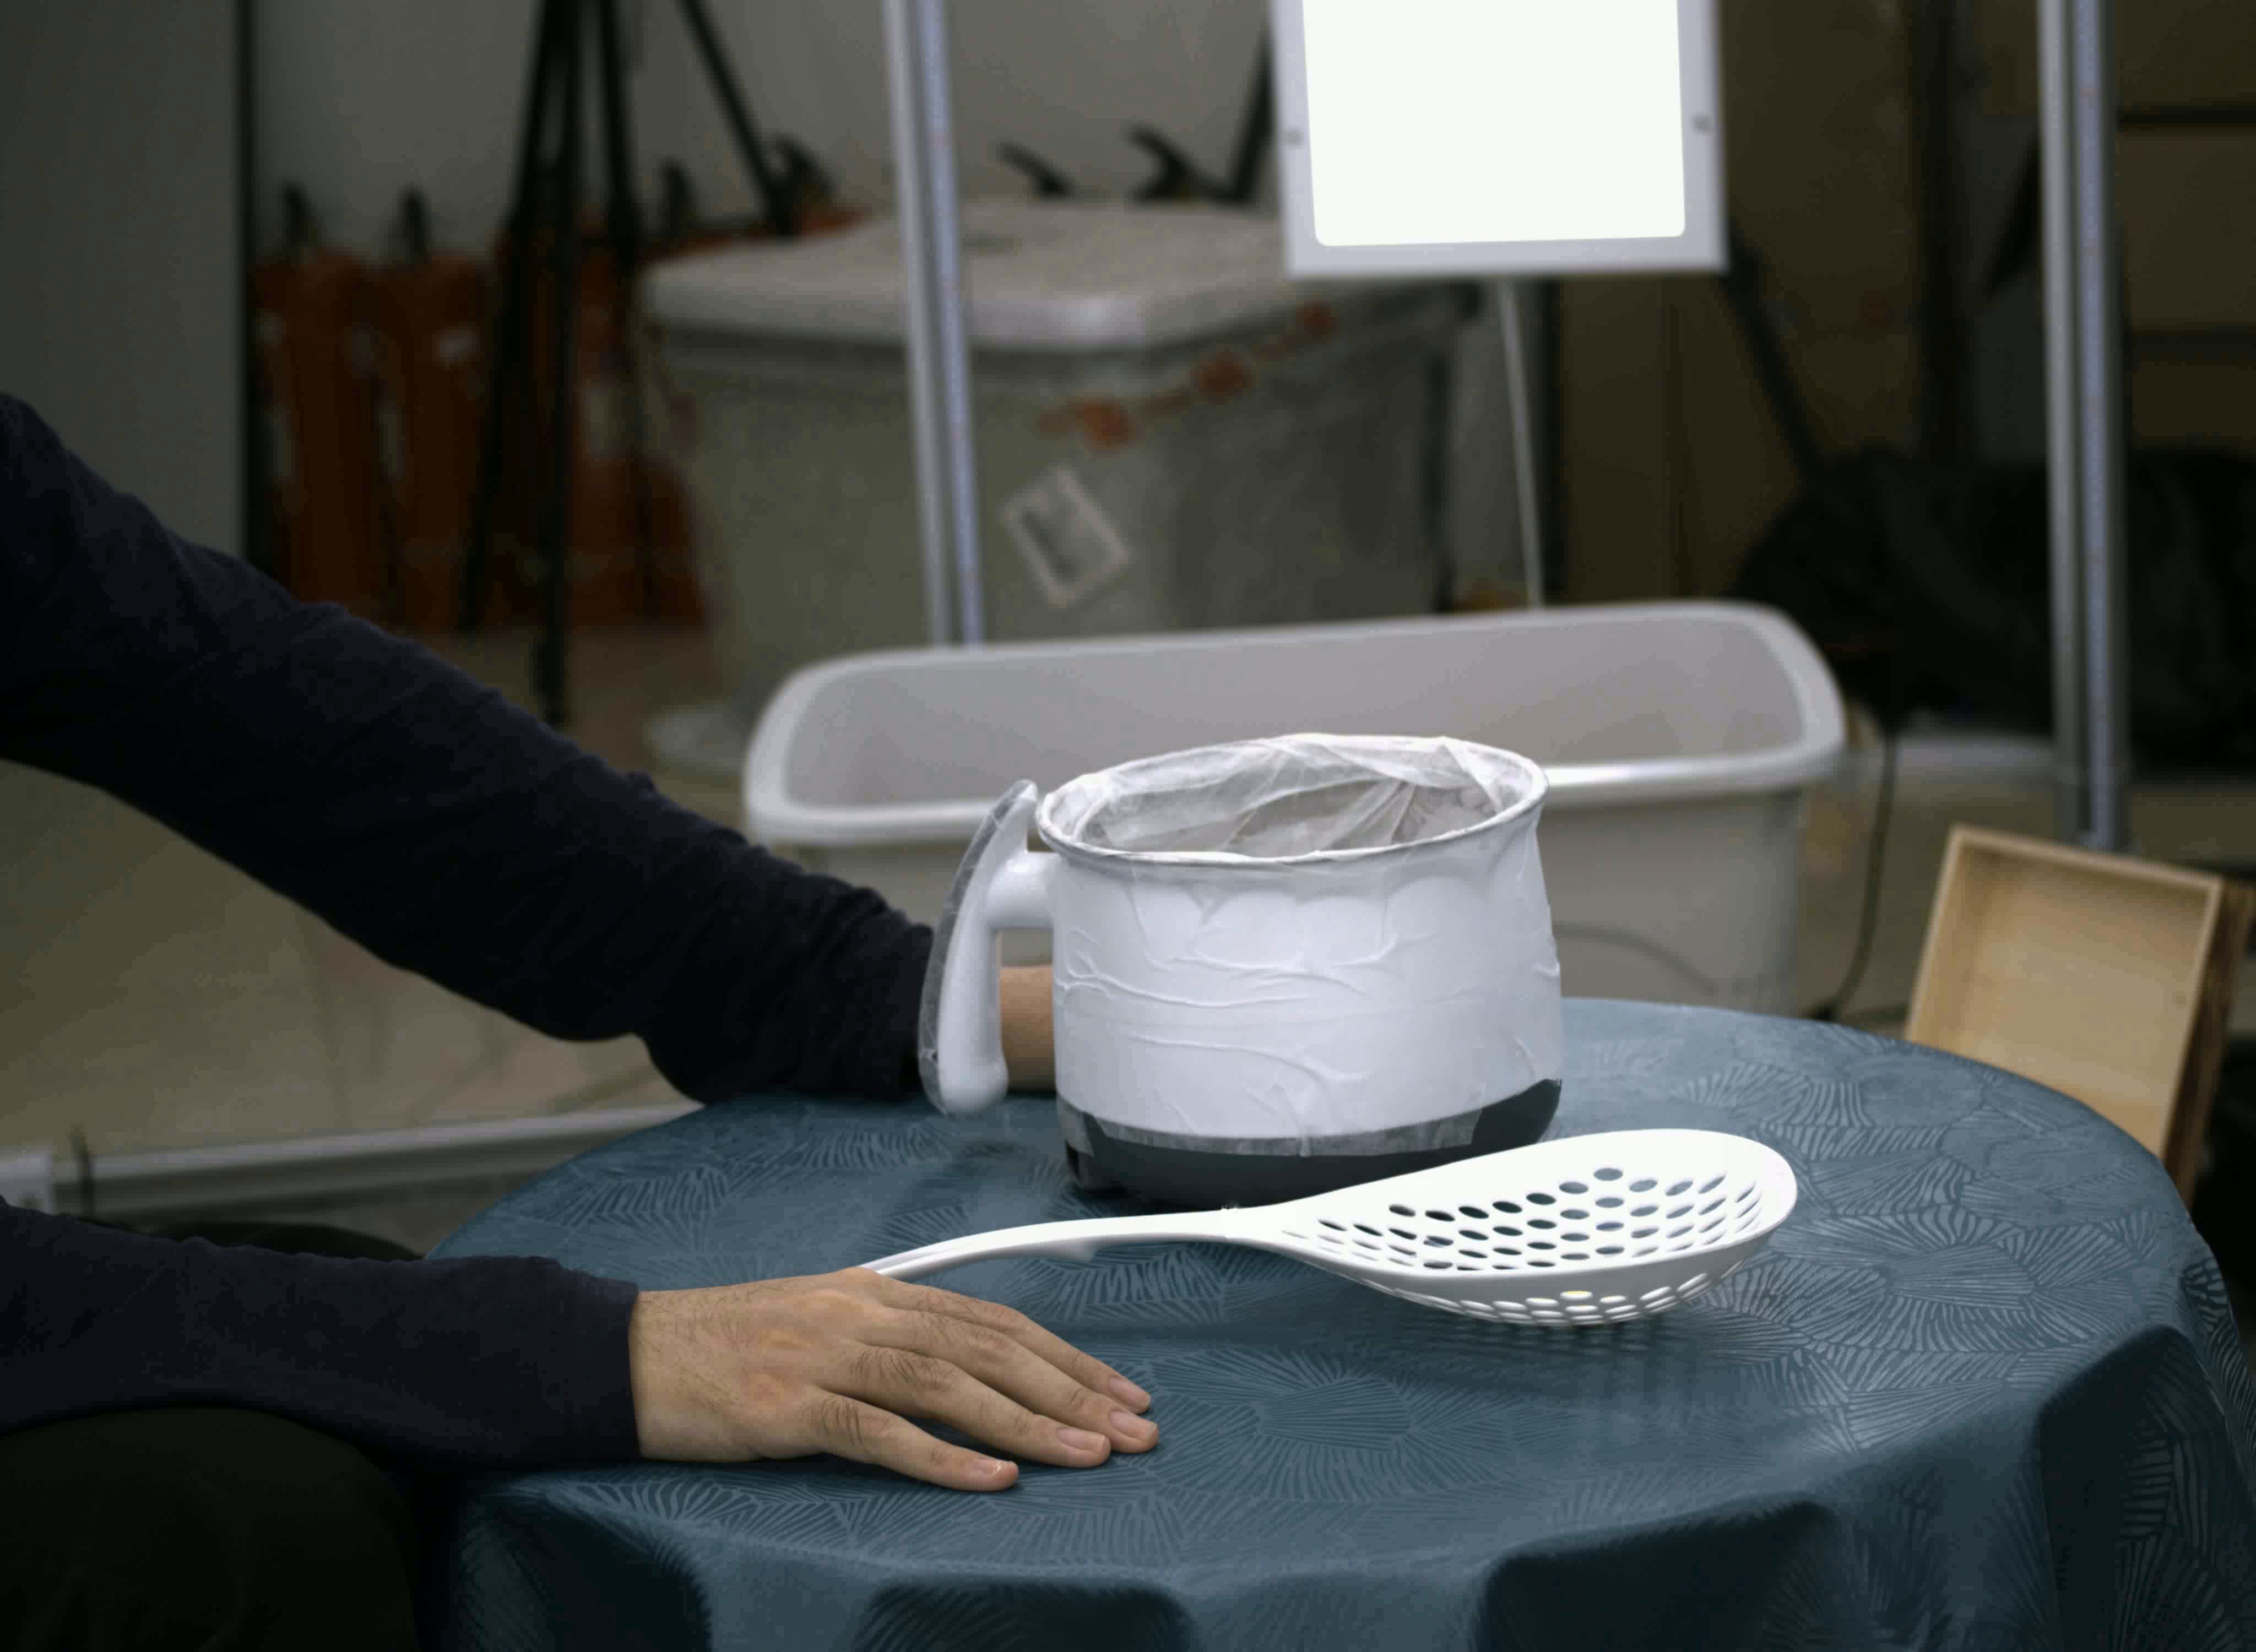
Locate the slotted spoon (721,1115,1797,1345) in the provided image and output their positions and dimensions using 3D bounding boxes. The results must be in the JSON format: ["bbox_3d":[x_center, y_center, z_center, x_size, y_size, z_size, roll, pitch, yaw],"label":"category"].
[{"bbox_3d":[0.040,0.137,1.753,0.350,0.050,0.135,-2,15,11],"label":"slotted spoon"}]

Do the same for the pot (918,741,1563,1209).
[{"bbox_3d":[0.036,0.051,1.913,0.237,0.137,0.175,1,13,21],"label":"pot"}]
